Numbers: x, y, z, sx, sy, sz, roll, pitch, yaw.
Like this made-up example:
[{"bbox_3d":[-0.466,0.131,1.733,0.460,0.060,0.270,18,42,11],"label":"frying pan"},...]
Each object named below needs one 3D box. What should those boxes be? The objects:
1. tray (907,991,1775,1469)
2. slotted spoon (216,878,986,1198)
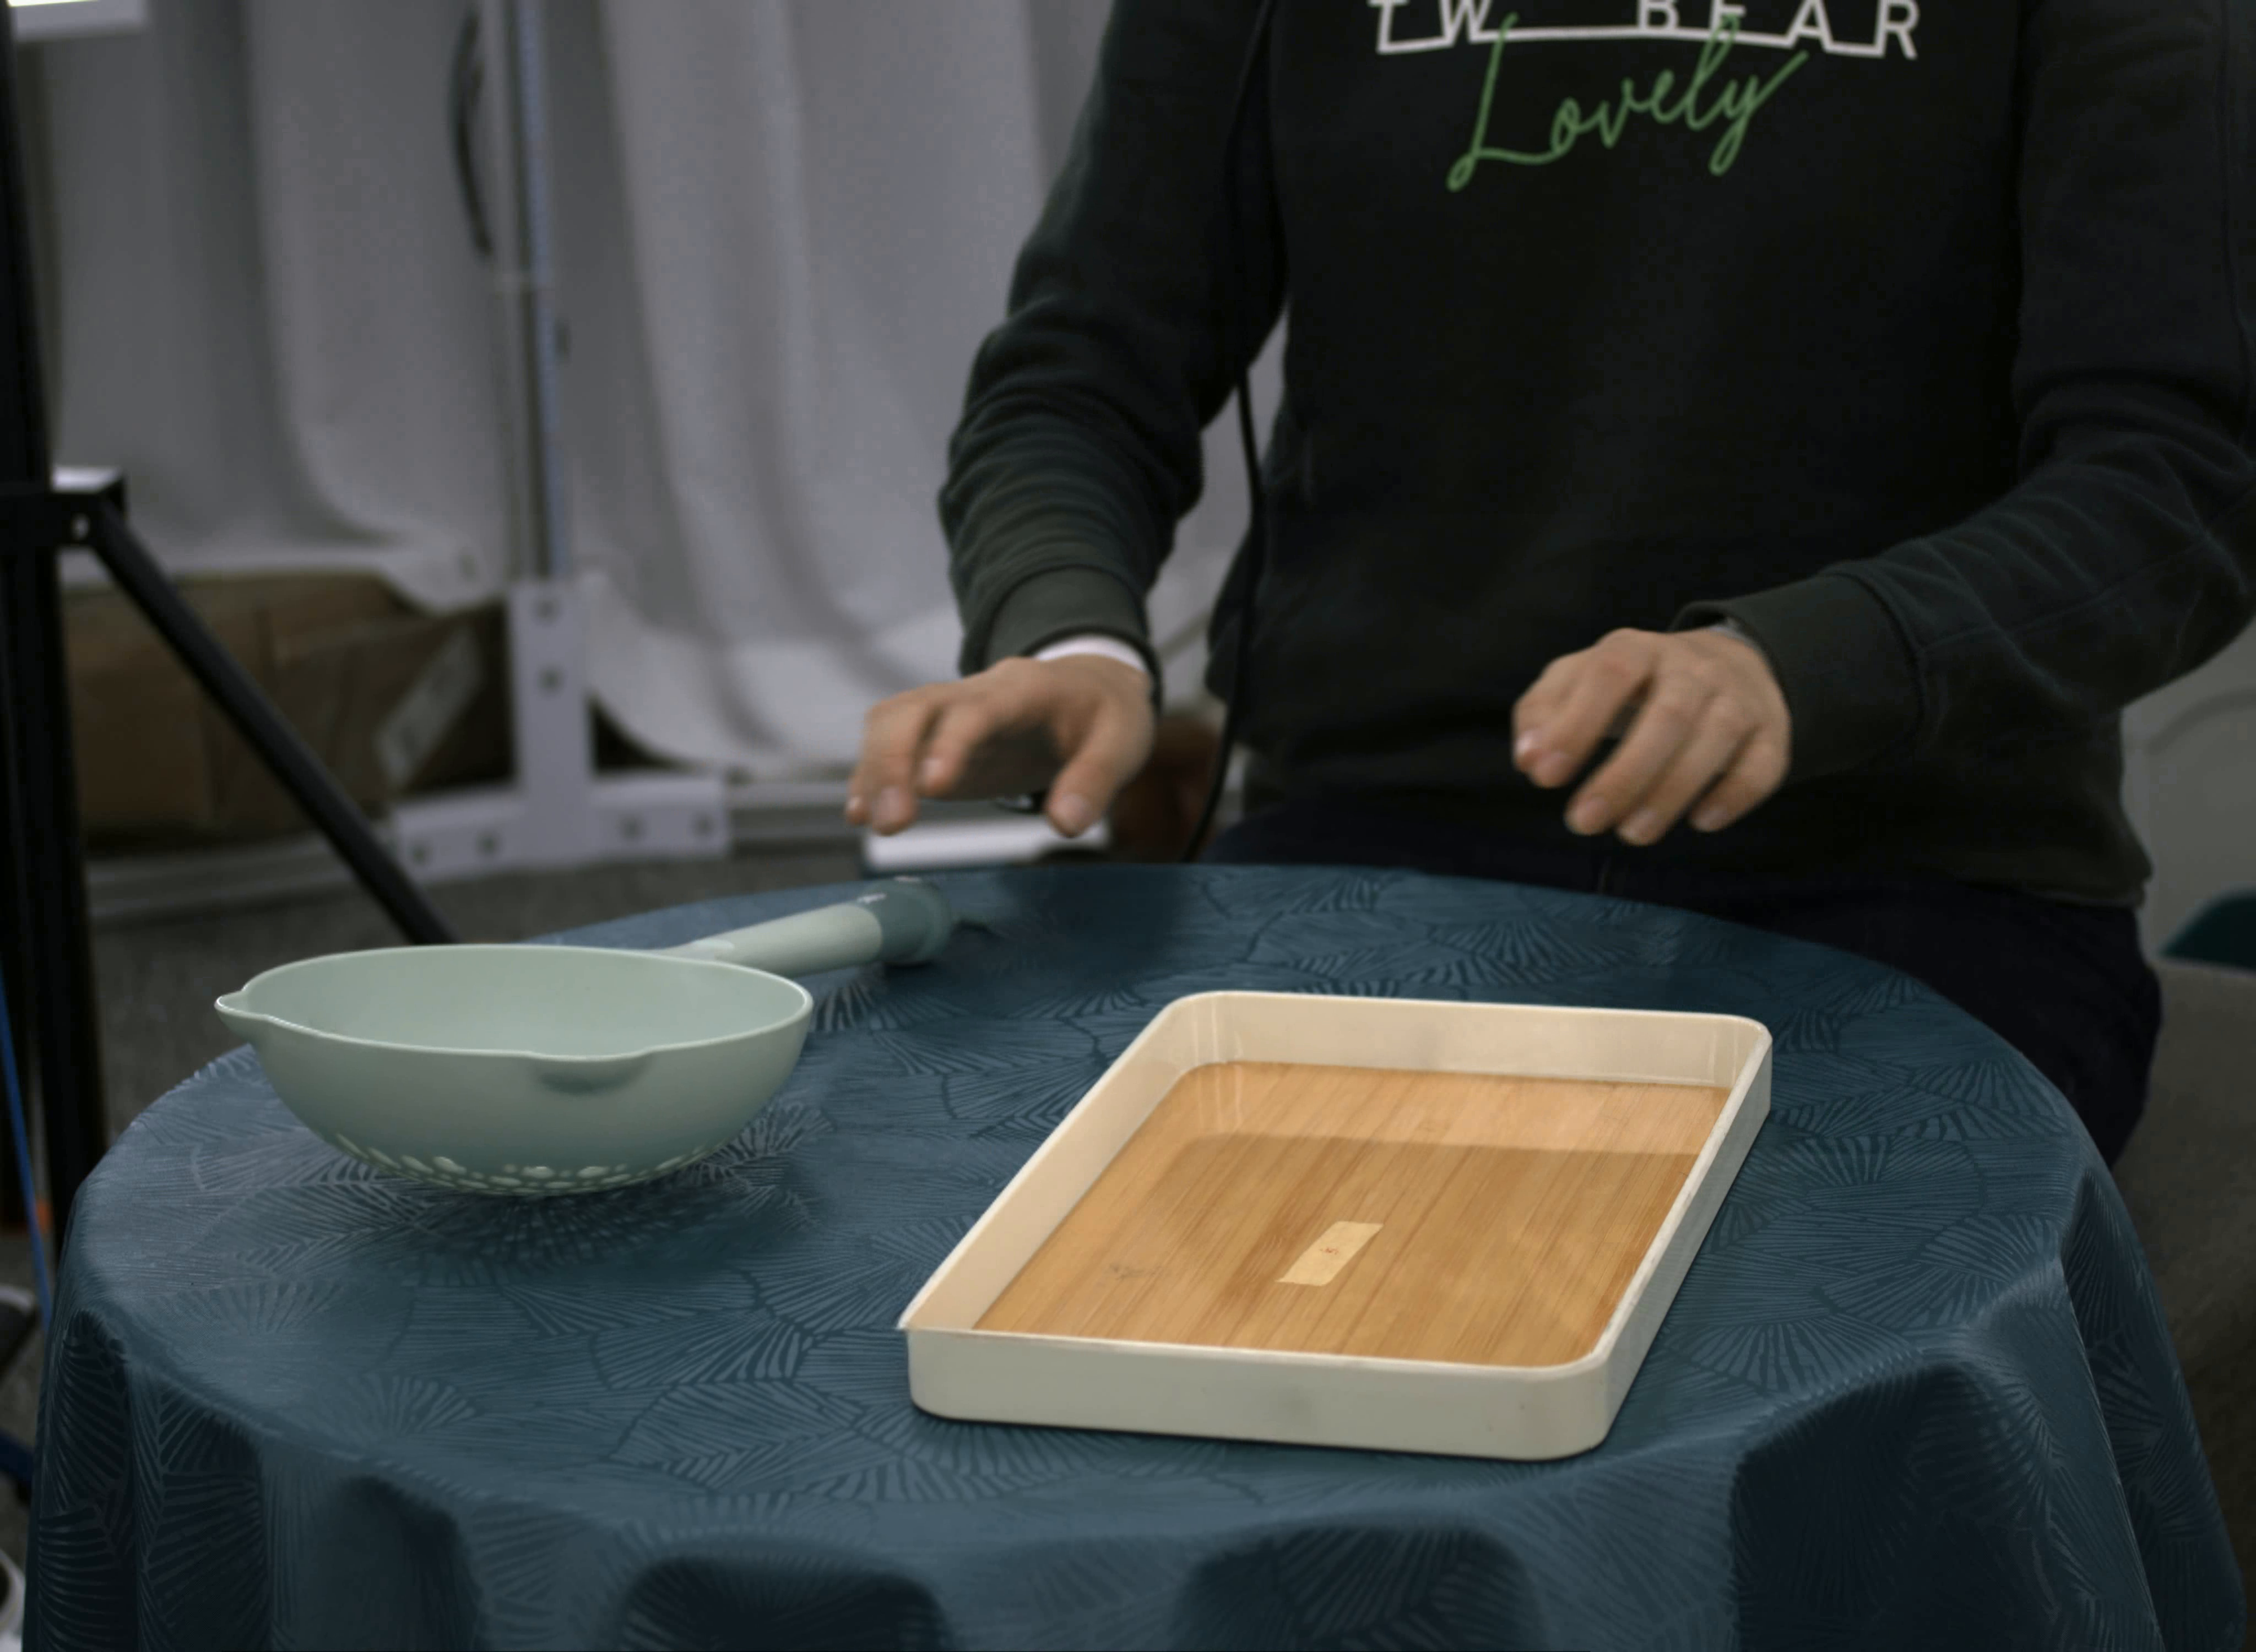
[{"bbox_3d":[0.069,0.108,1.498,0.193,0.027,0.297,2,17,17],"label":"tray"},{"bbox_3d":[-0.134,0.050,1.665,0.172,0.075,0.353,7,18,26],"label":"slotted spoon"}]
